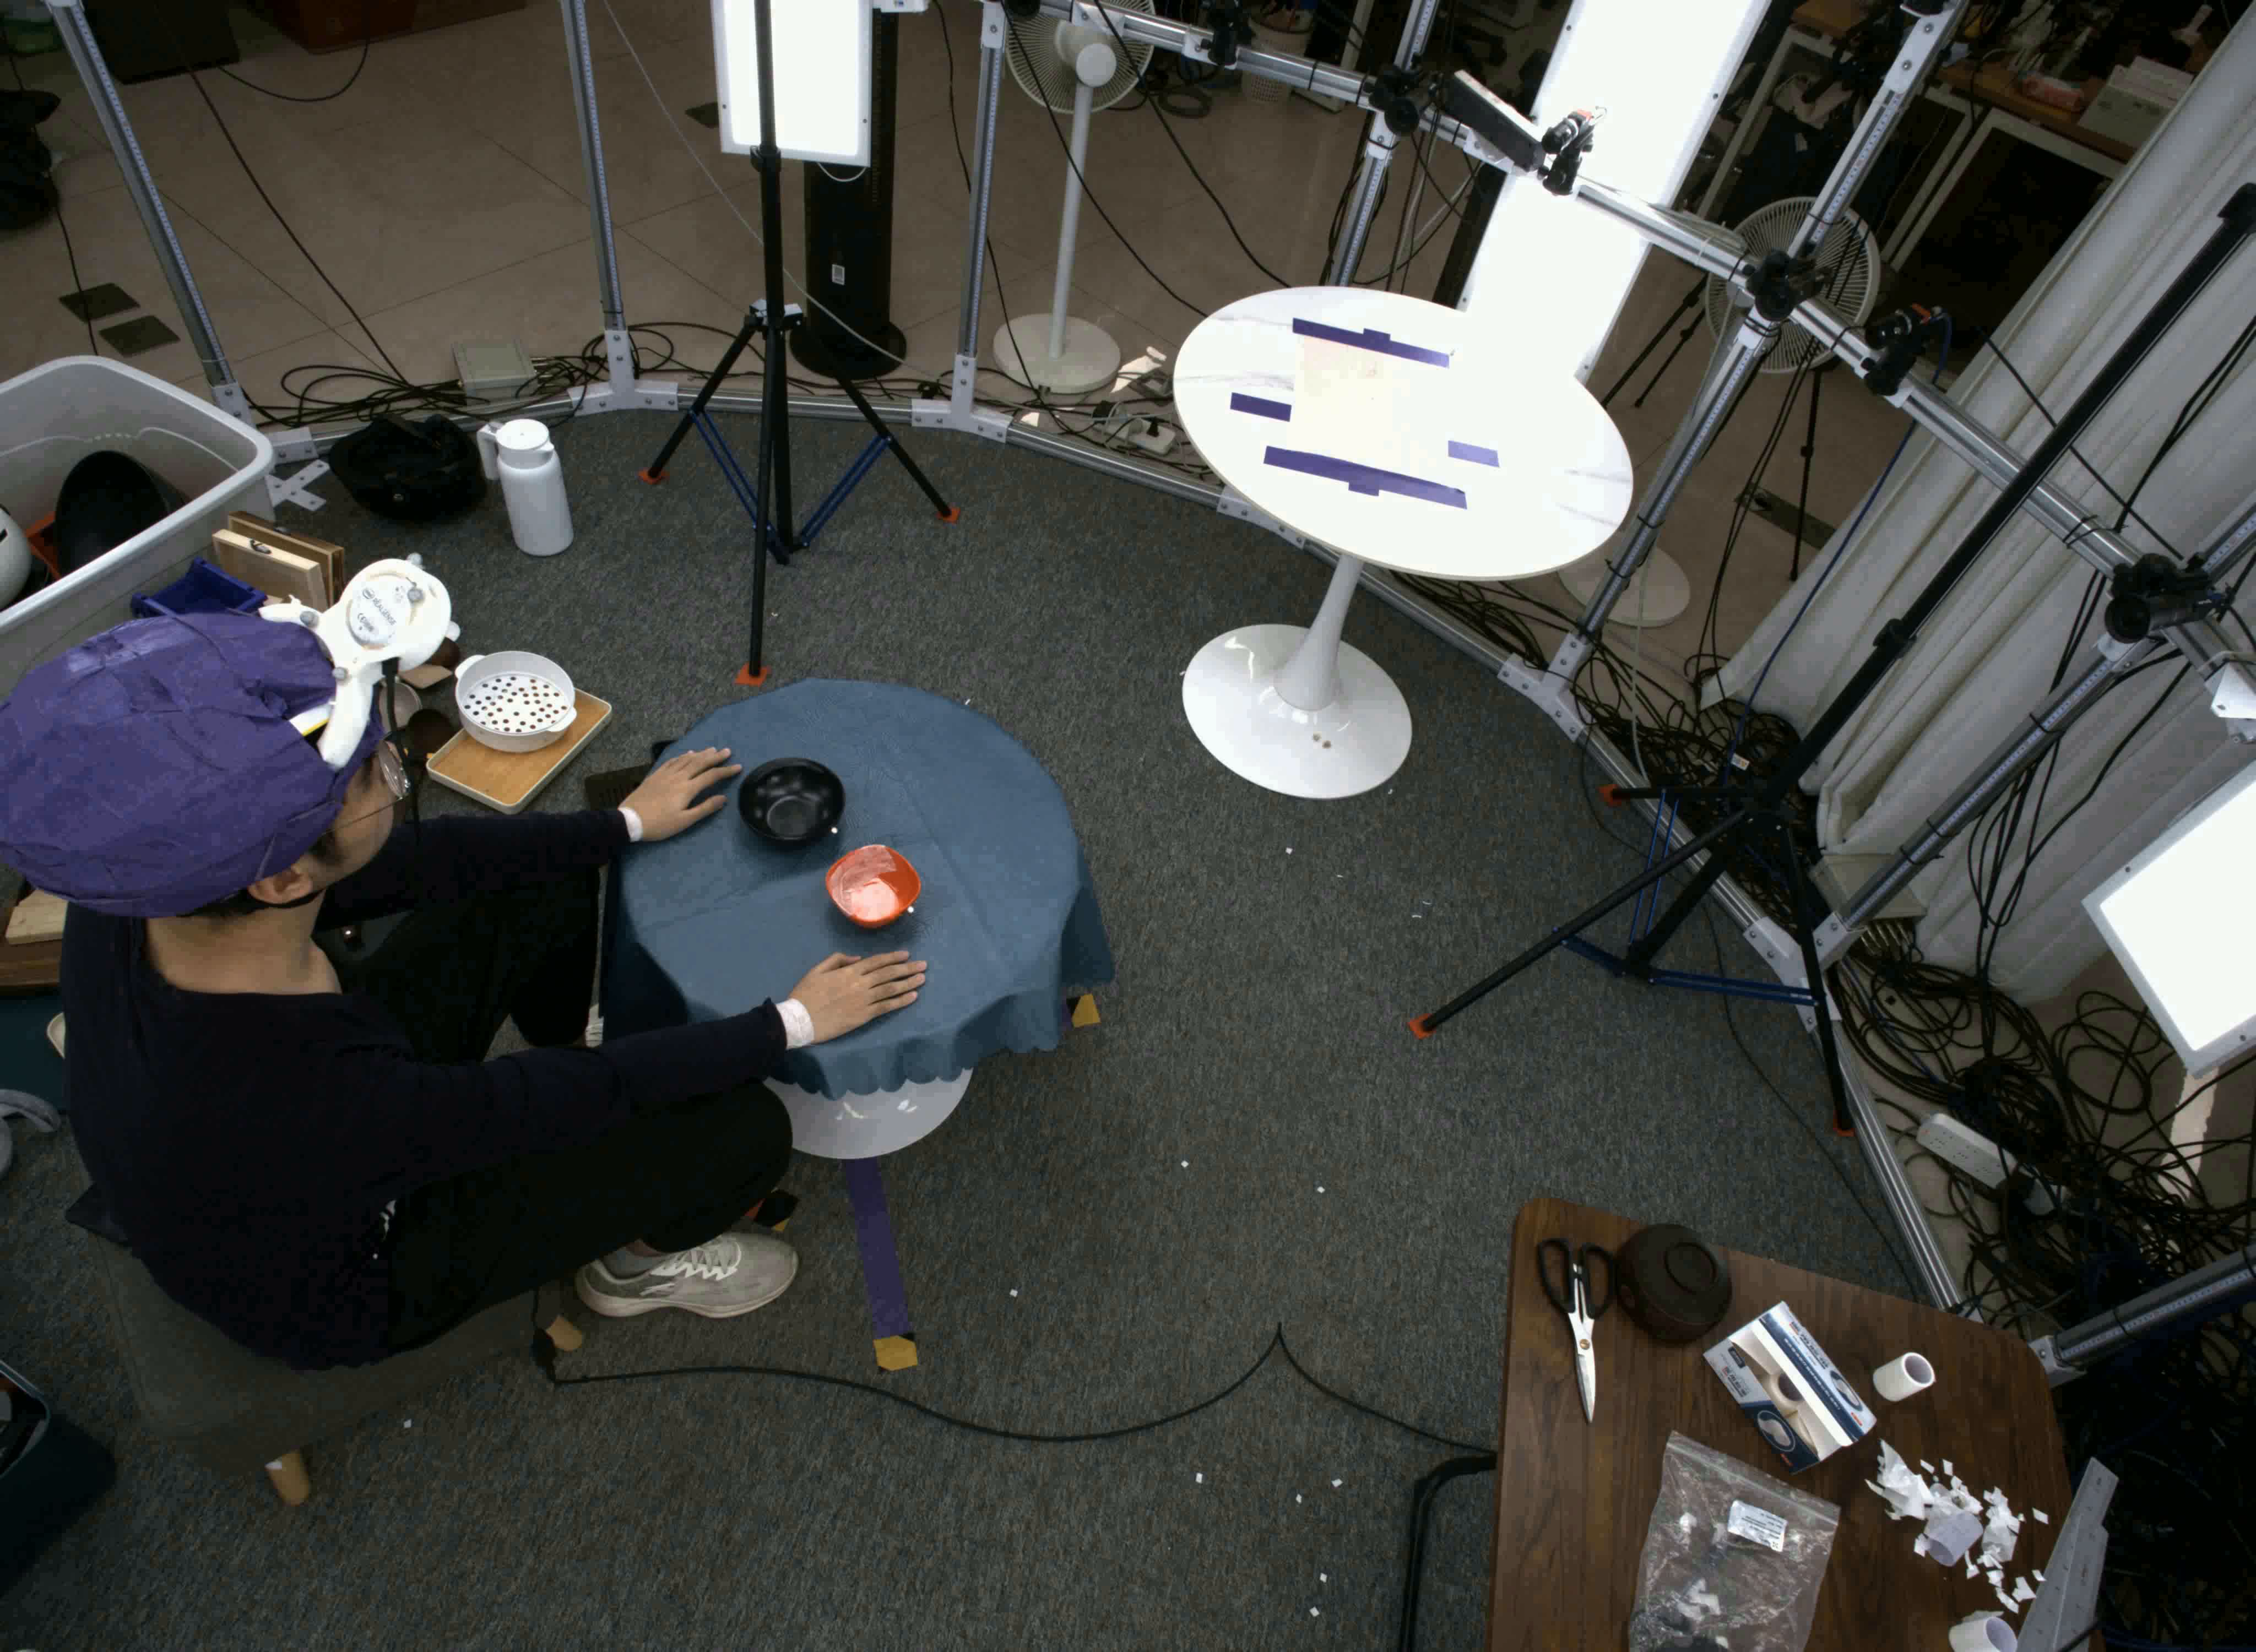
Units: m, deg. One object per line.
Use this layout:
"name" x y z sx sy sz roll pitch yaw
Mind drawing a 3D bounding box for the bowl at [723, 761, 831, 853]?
"bowl" -0.462 -0.018 1.711 0.139 0.051 0.138 5 56 -6

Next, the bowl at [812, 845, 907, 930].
"bowl" -0.343 0.086 1.658 0.119 0.052 0.117 9 52 -10
